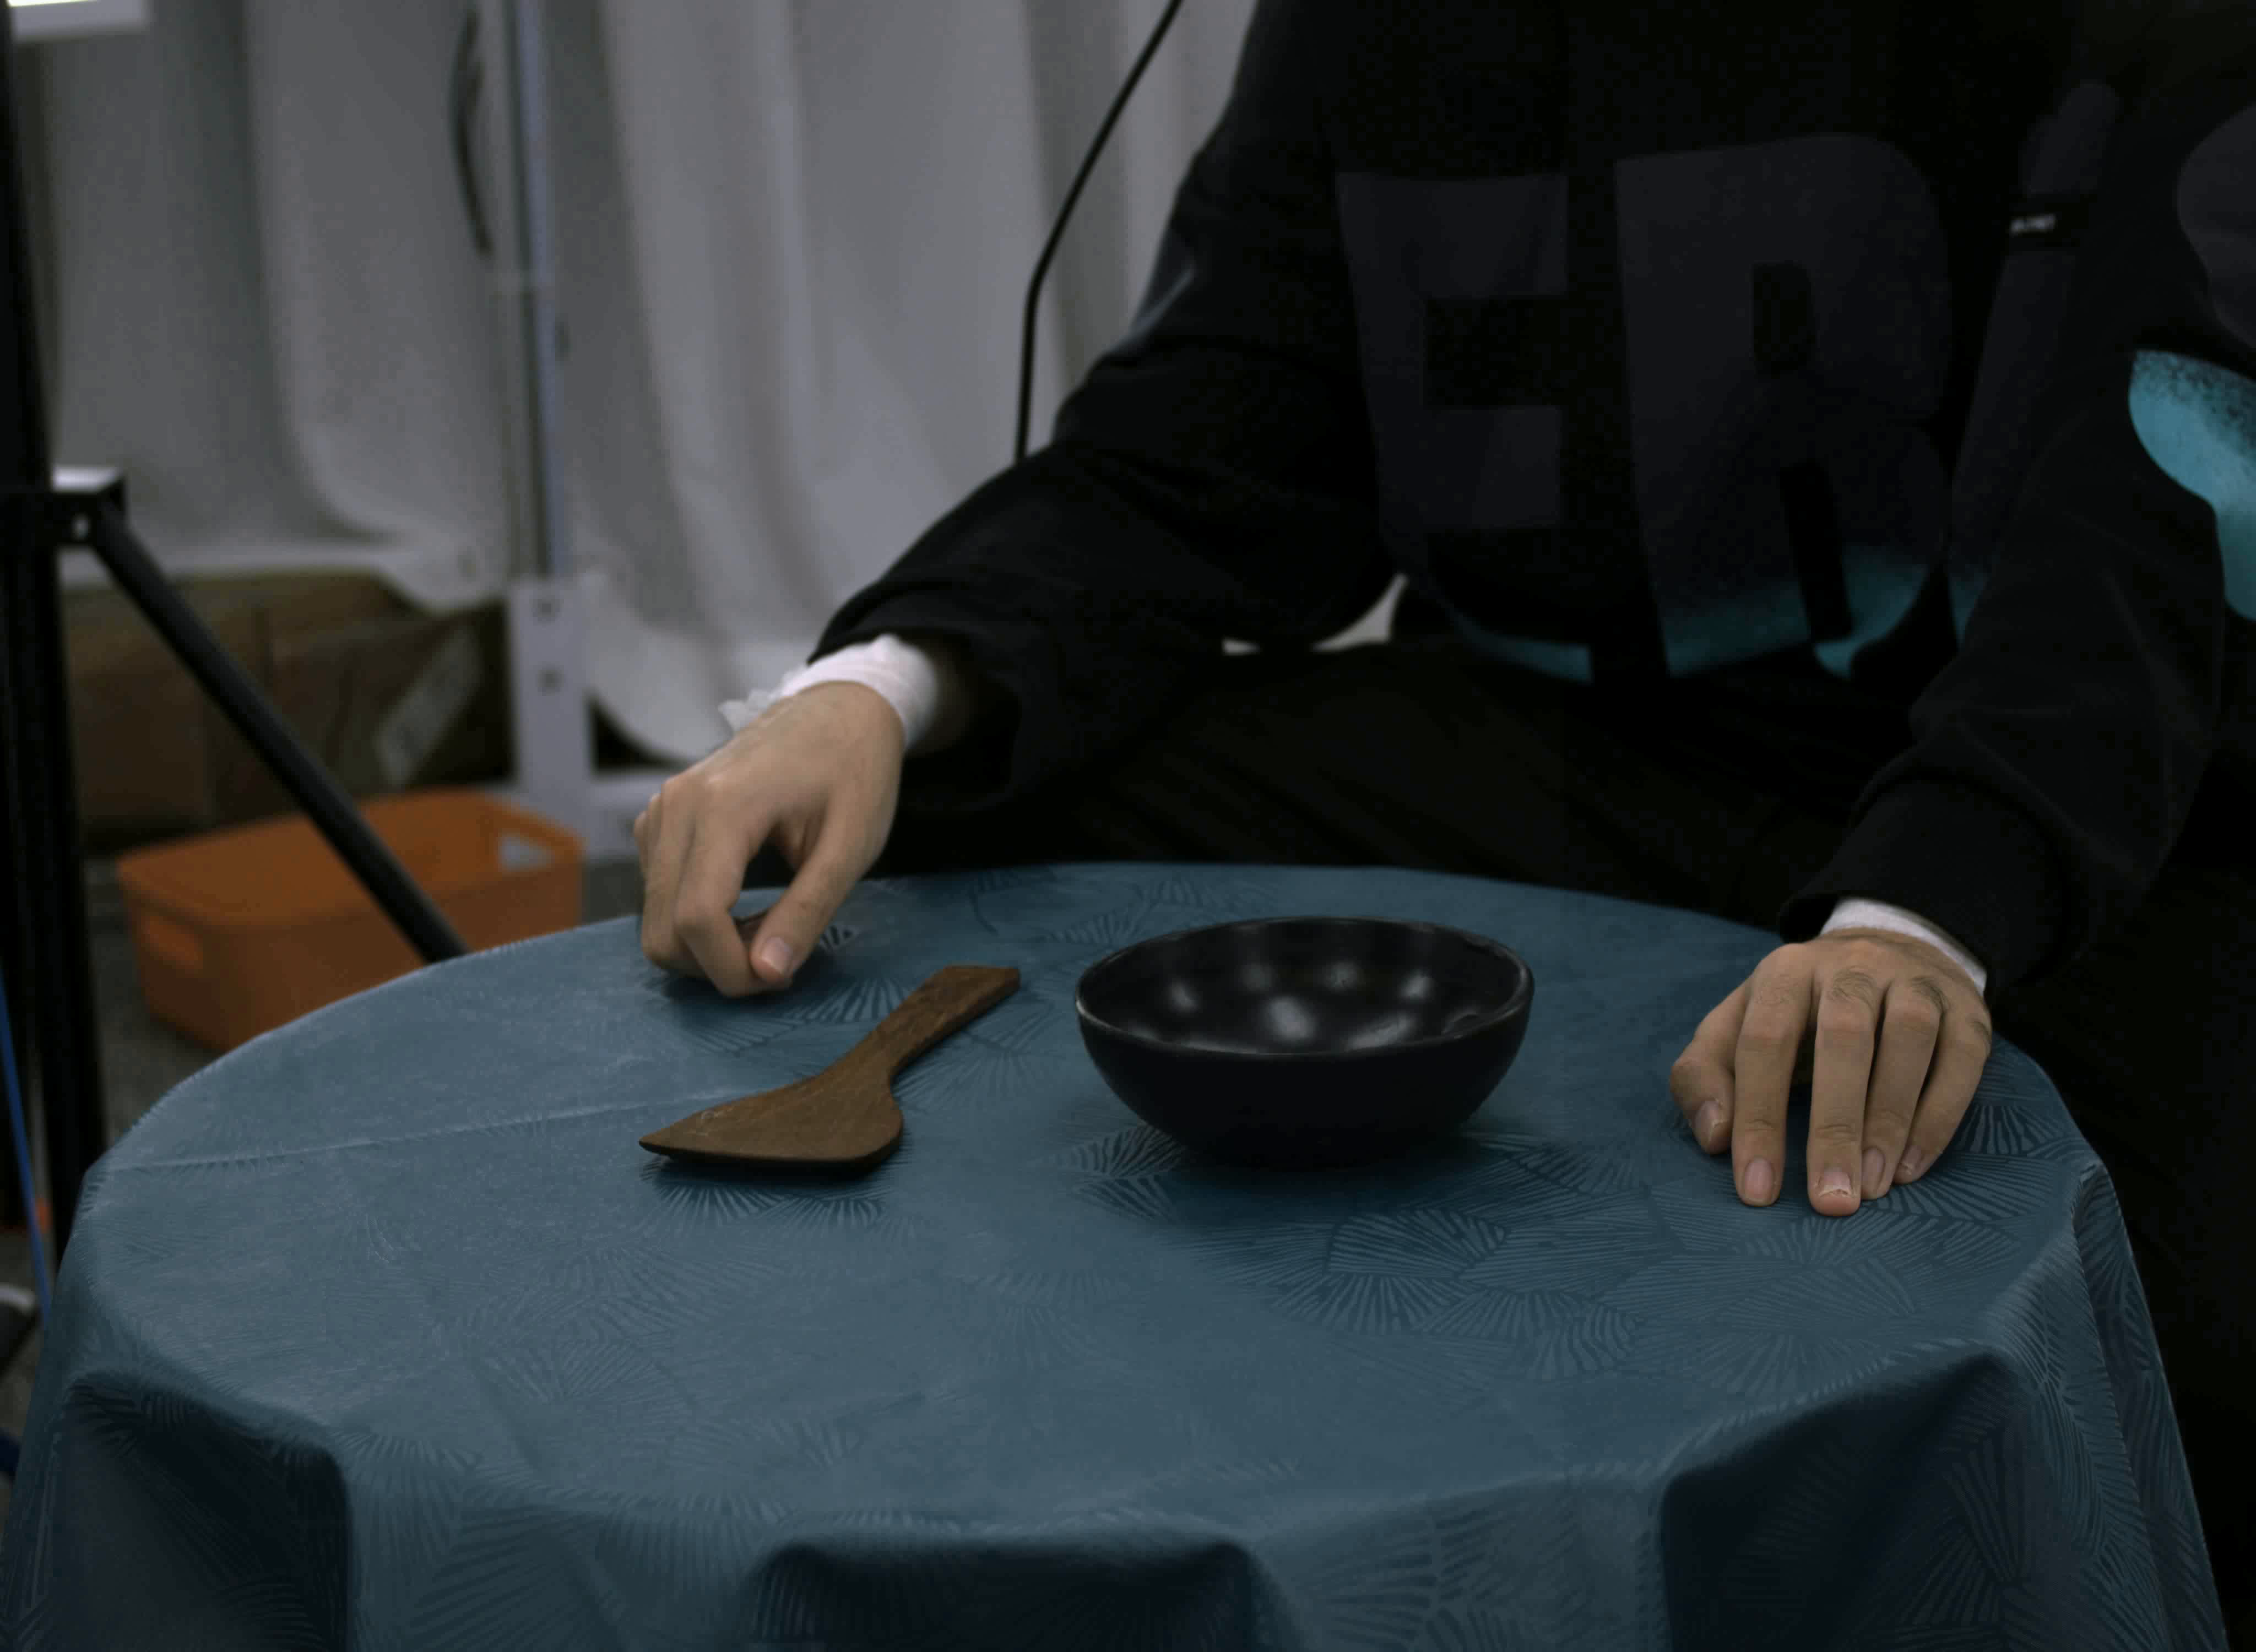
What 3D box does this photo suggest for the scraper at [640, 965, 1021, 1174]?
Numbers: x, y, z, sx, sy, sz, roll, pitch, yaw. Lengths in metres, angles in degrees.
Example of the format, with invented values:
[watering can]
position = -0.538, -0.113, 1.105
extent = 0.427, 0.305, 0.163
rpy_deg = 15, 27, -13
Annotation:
[scraper]
position = -0.080, 0.075, 1.673
extent = 0.077, 0.011, 0.209
rpy_deg = 5, 17, 19

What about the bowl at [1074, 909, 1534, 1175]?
[bowl]
position = 0.055, 0.070, 1.593
extent = 0.139, 0.050, 0.141
rpy_deg = -6, 16, 0
